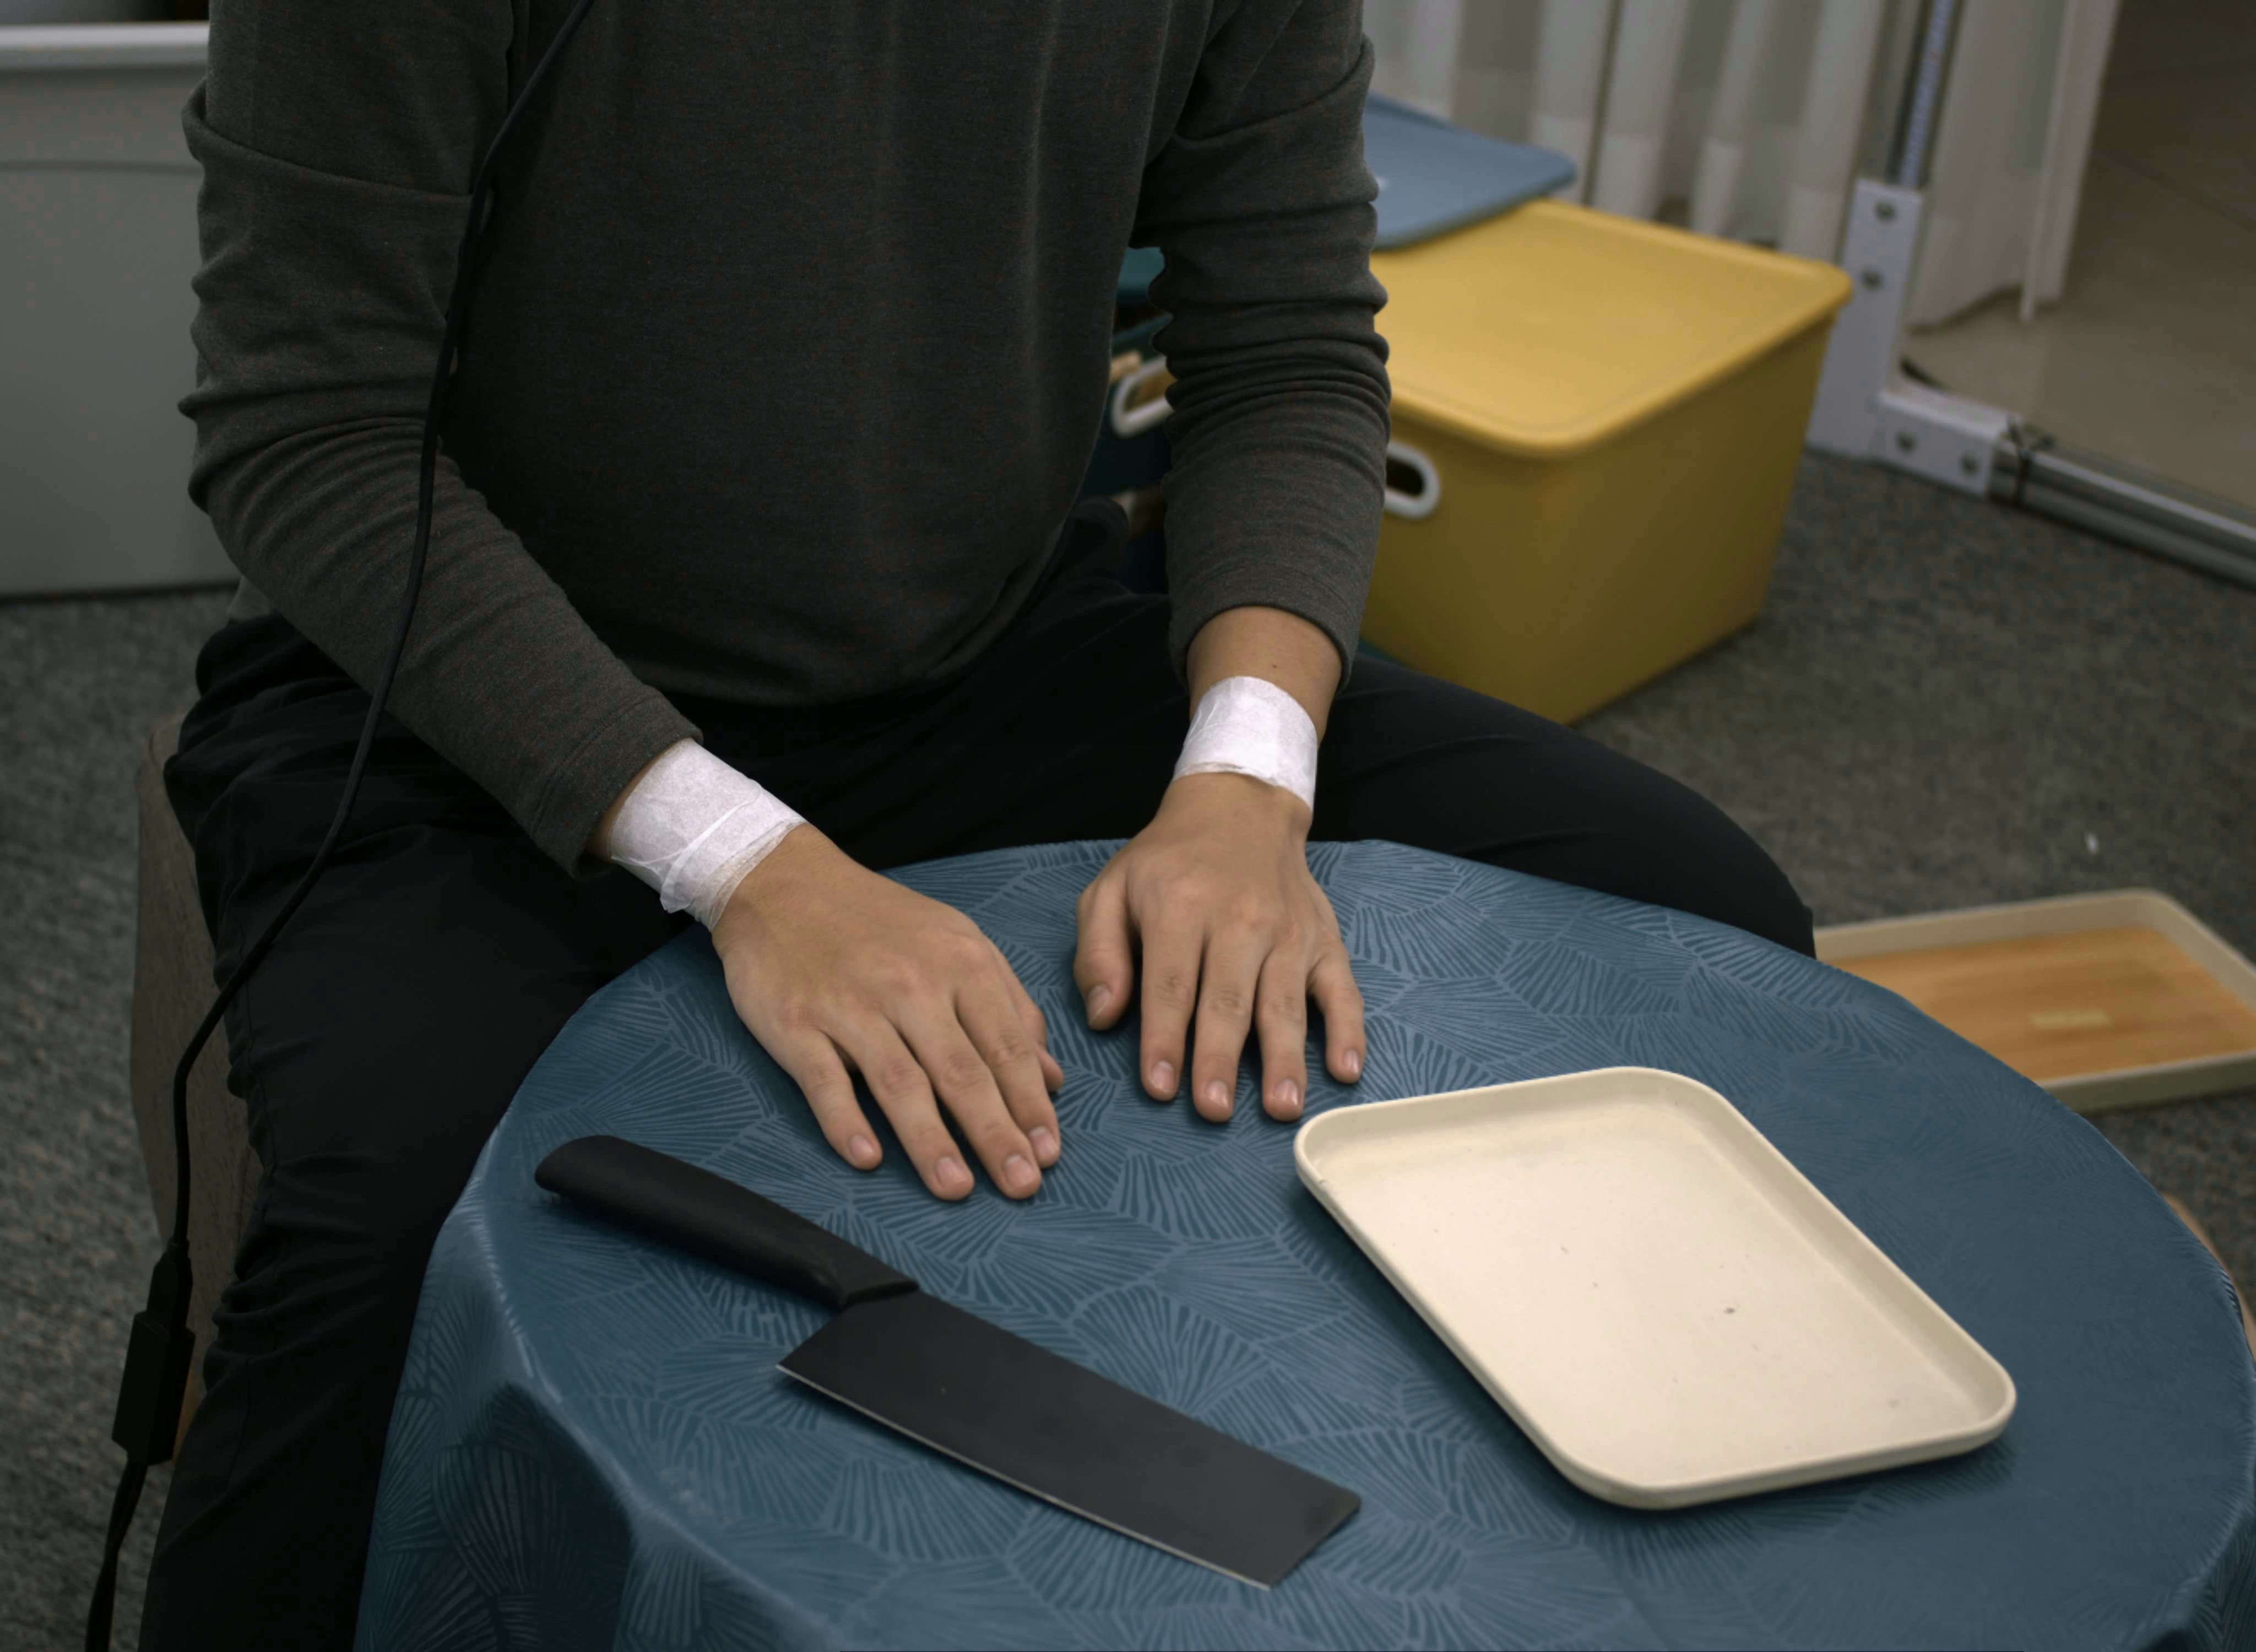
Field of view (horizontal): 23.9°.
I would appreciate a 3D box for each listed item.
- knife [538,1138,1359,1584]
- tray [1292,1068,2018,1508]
[{"bbox_3d":[-0.067,0.167,1.690,0.304,0.021,0.080,25,33,29],"label":"knife"},{"bbox_3d":[0.171,0.152,1.769,0.170,0.017,0.242,-6,29,-25],"label":"tray"}]
